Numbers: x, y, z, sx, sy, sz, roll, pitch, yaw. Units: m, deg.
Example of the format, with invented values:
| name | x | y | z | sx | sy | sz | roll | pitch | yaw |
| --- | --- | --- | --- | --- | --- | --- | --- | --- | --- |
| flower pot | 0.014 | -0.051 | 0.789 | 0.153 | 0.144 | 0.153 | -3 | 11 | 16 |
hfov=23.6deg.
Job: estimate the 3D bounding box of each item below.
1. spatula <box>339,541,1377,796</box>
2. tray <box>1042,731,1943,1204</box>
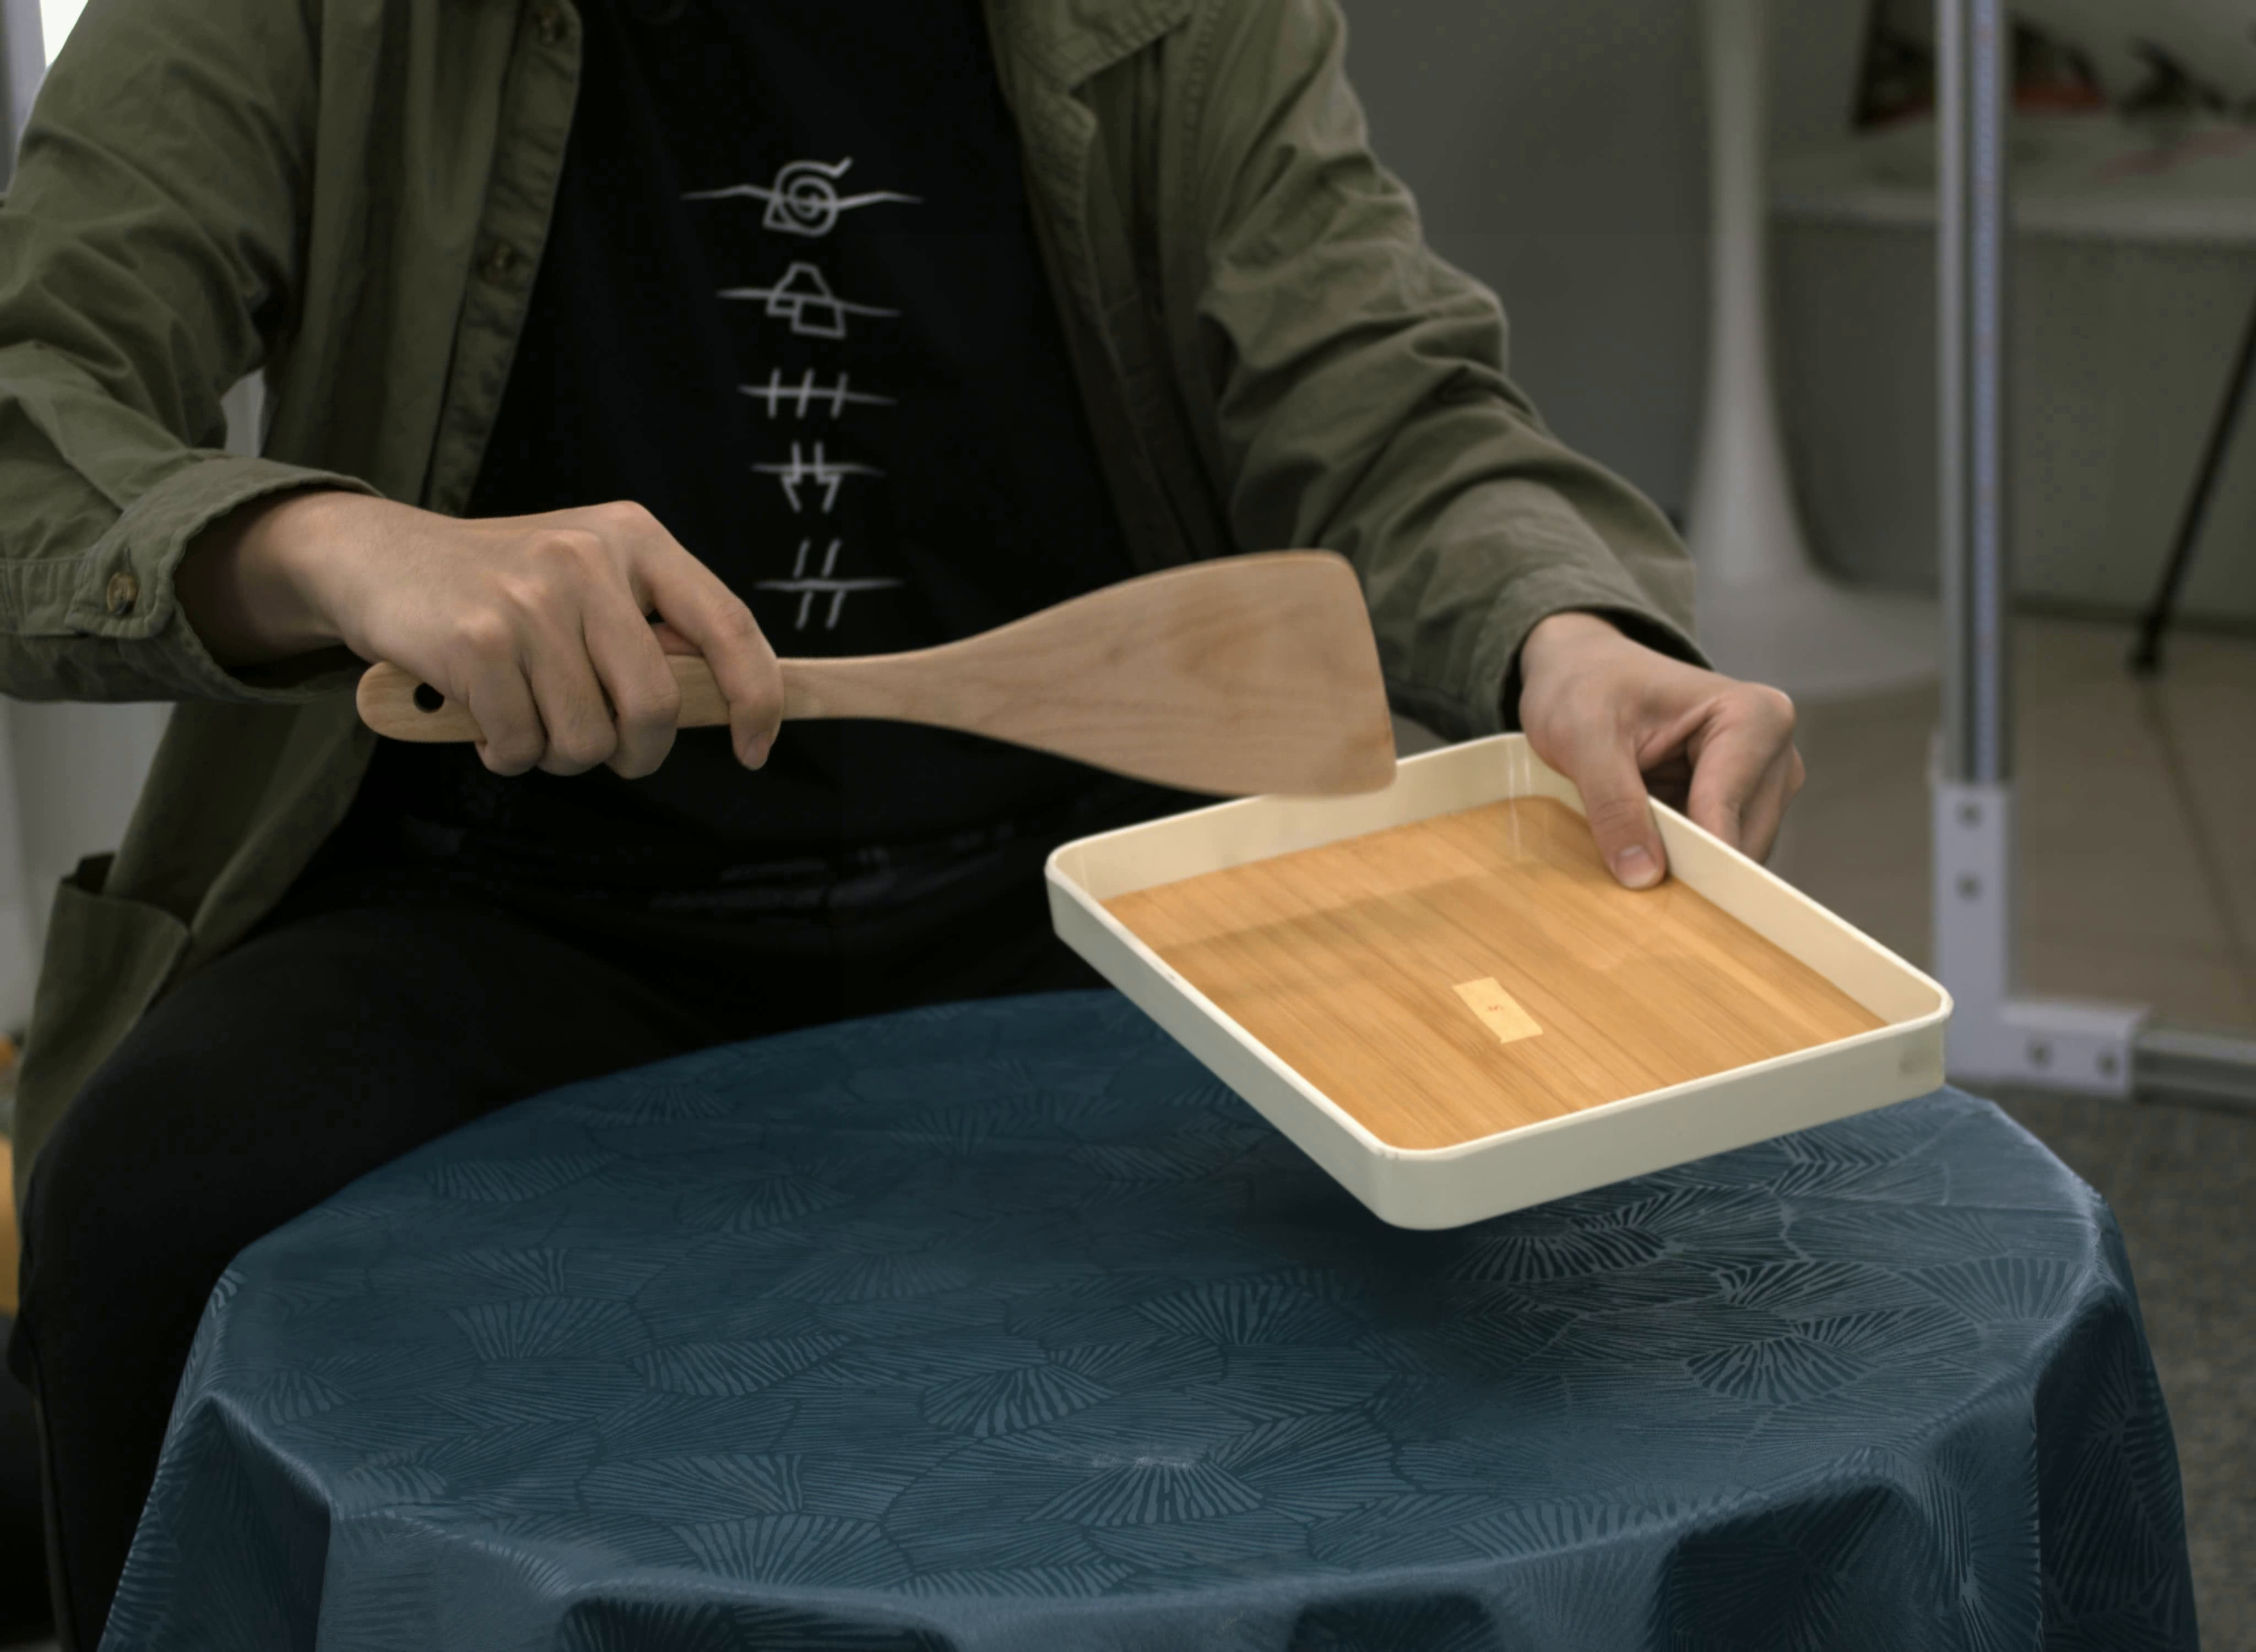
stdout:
| name | x | y | z | sx | sy | sz | roll | pitch | yaw |
| --- | --- | --- | --- | --- | --- | --- | --- | --- | --- |
| spatula | -0.084 | -0.045 | 1.687 | 0.323 | 0.081 | 0.016 | -2 | 12 | 0 |
| tray | 0.107 | 0.038 | 1.684 | 0.188 | 0.027 | 0.303 | -14 | 20 | -17 |
